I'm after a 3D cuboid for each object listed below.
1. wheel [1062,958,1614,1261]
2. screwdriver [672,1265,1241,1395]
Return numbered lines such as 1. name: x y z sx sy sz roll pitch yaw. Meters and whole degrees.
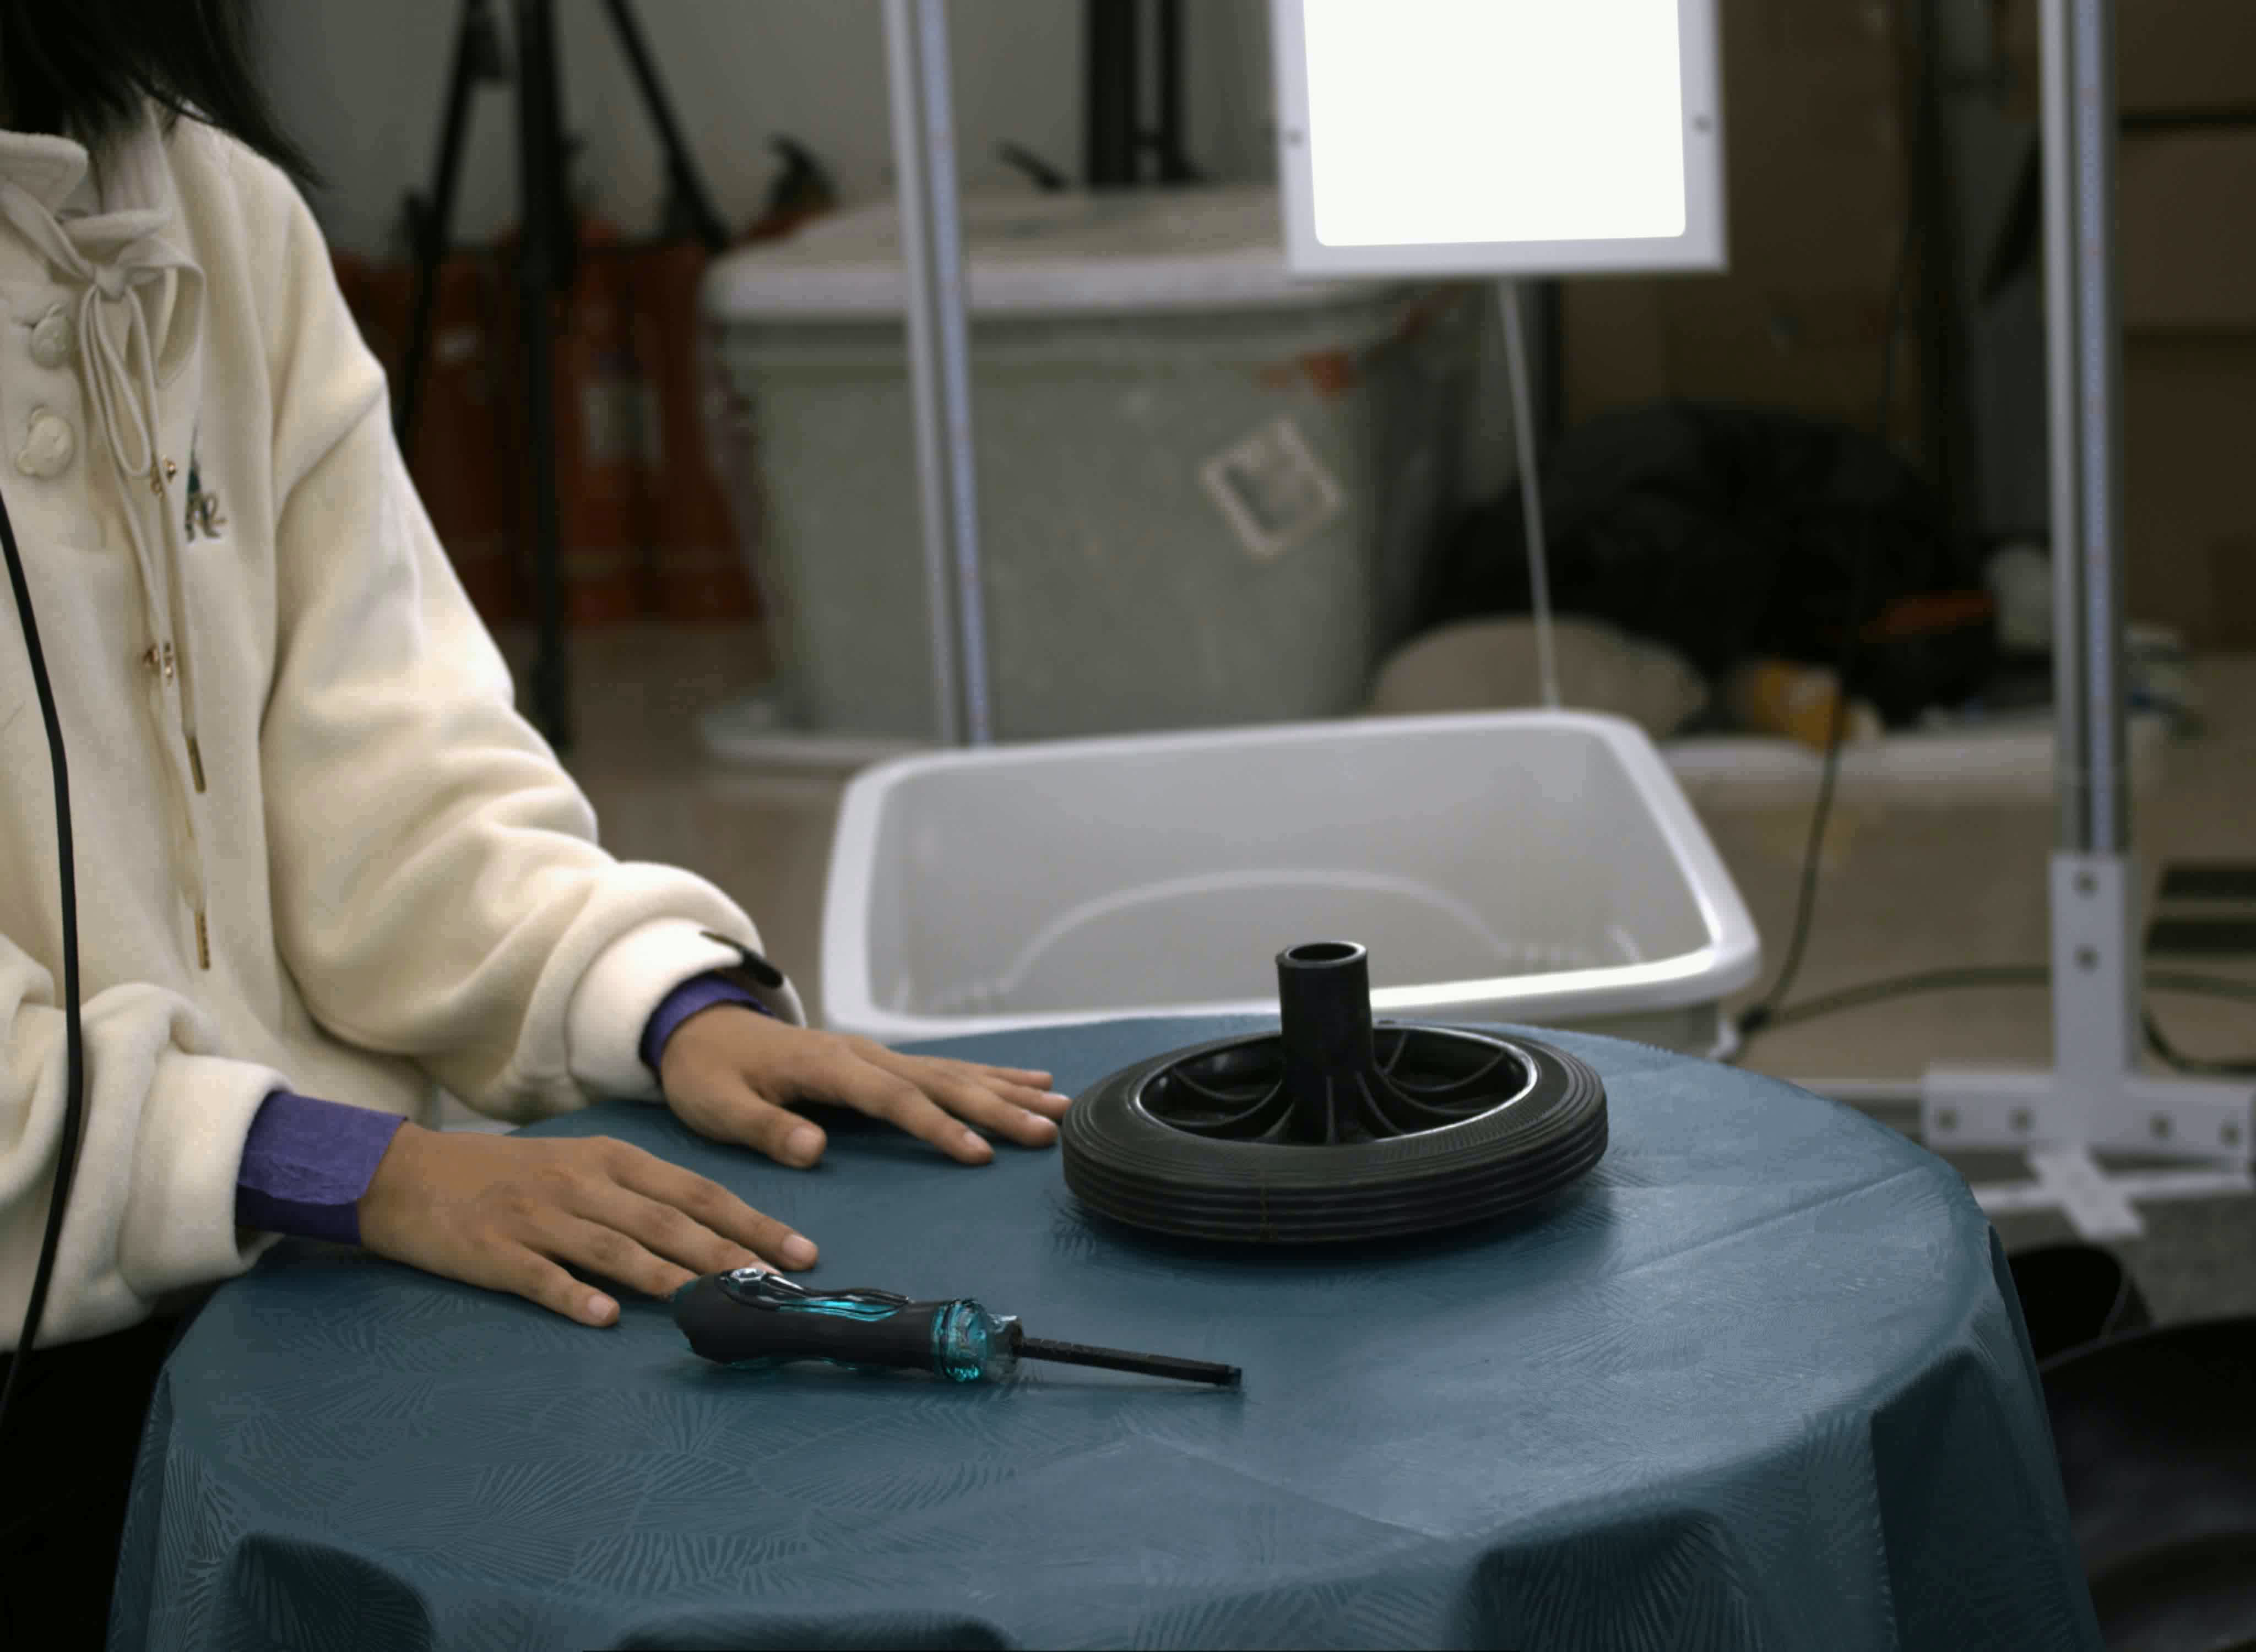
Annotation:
1. wheel: 0.071 0.087 1.877 0.183 0.079 0.193 -15 19 -34
2. screwdriver: -0.054 0.163 1.726 0.192 0.034 0.033 6 17 22
